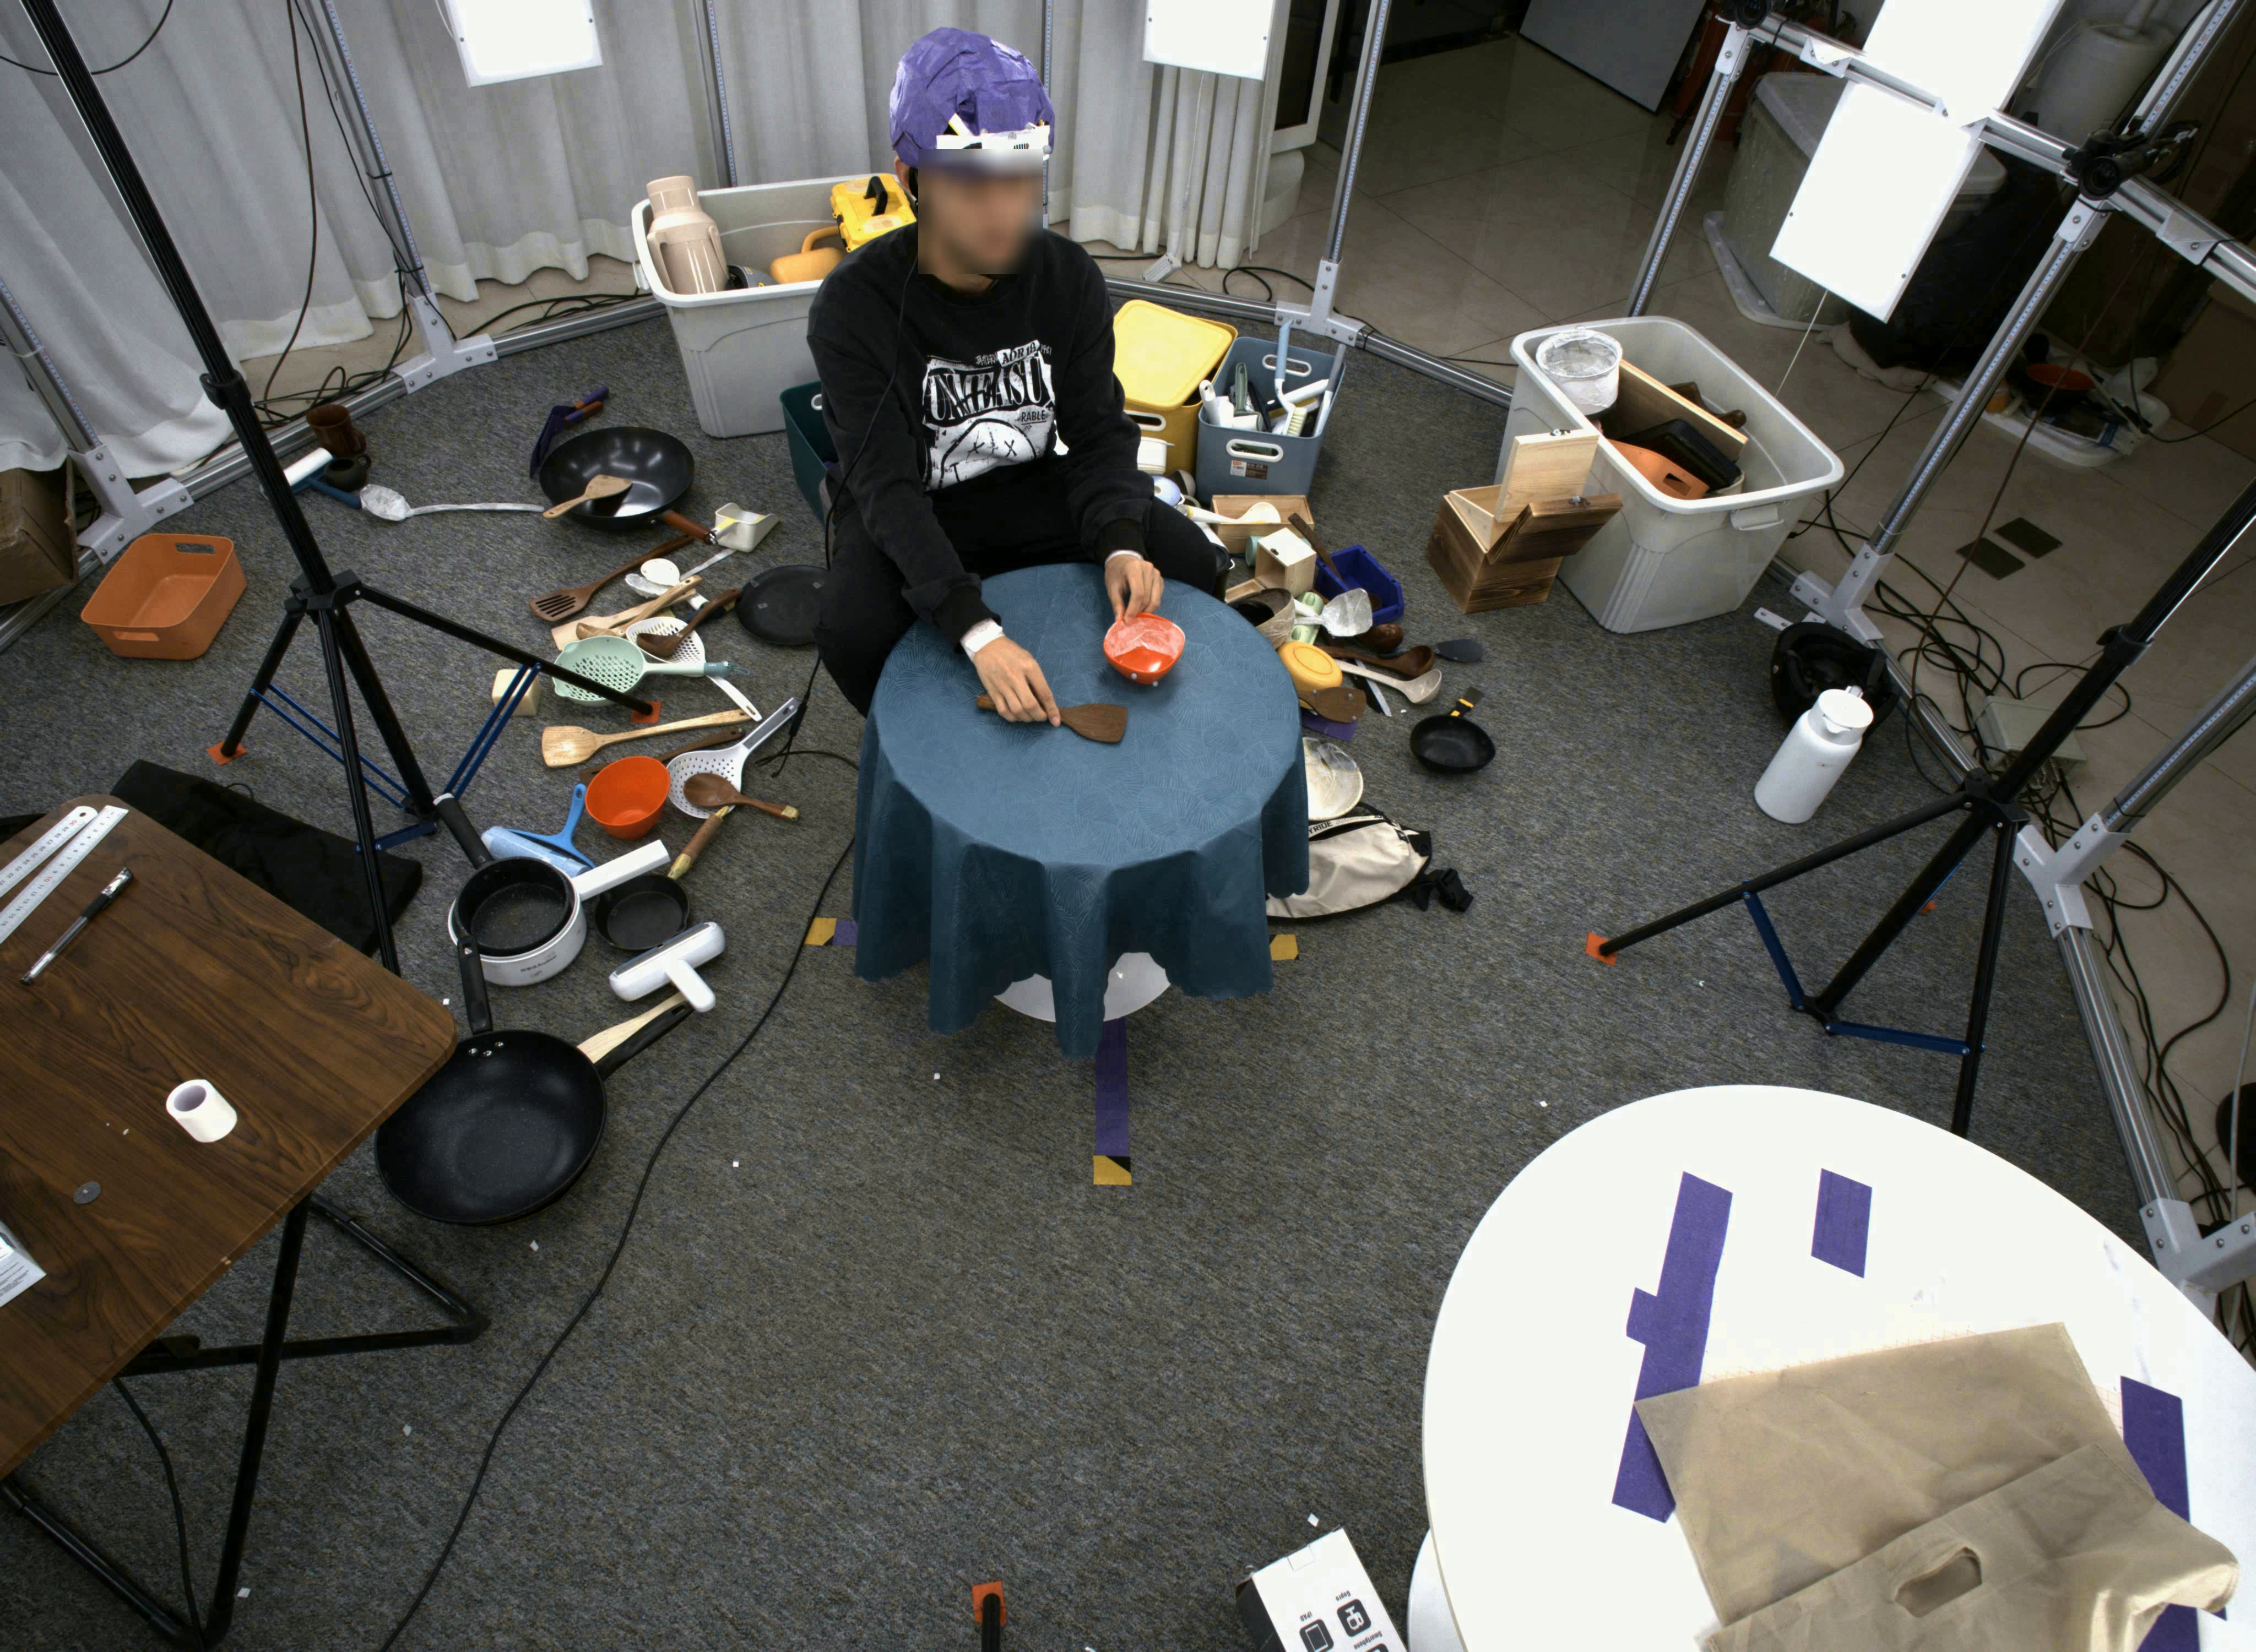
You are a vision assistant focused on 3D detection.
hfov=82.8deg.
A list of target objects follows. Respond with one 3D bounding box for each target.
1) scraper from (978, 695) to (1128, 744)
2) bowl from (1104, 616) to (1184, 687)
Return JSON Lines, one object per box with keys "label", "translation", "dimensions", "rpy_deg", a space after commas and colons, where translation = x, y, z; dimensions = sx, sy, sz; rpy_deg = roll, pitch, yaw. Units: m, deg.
{"label": "scraper", "translation": [-0.106, -0.158, 1.805], "dimensions": [0.211, 0.010, 0.077], "rpy_deg": [10, 48, 2]}
{"label": "bowl", "translation": [0.025, -0.247, 1.870], "dimensions": [0.119, 0.050, 0.122], "rpy_deg": [-1, 56, 2]}
